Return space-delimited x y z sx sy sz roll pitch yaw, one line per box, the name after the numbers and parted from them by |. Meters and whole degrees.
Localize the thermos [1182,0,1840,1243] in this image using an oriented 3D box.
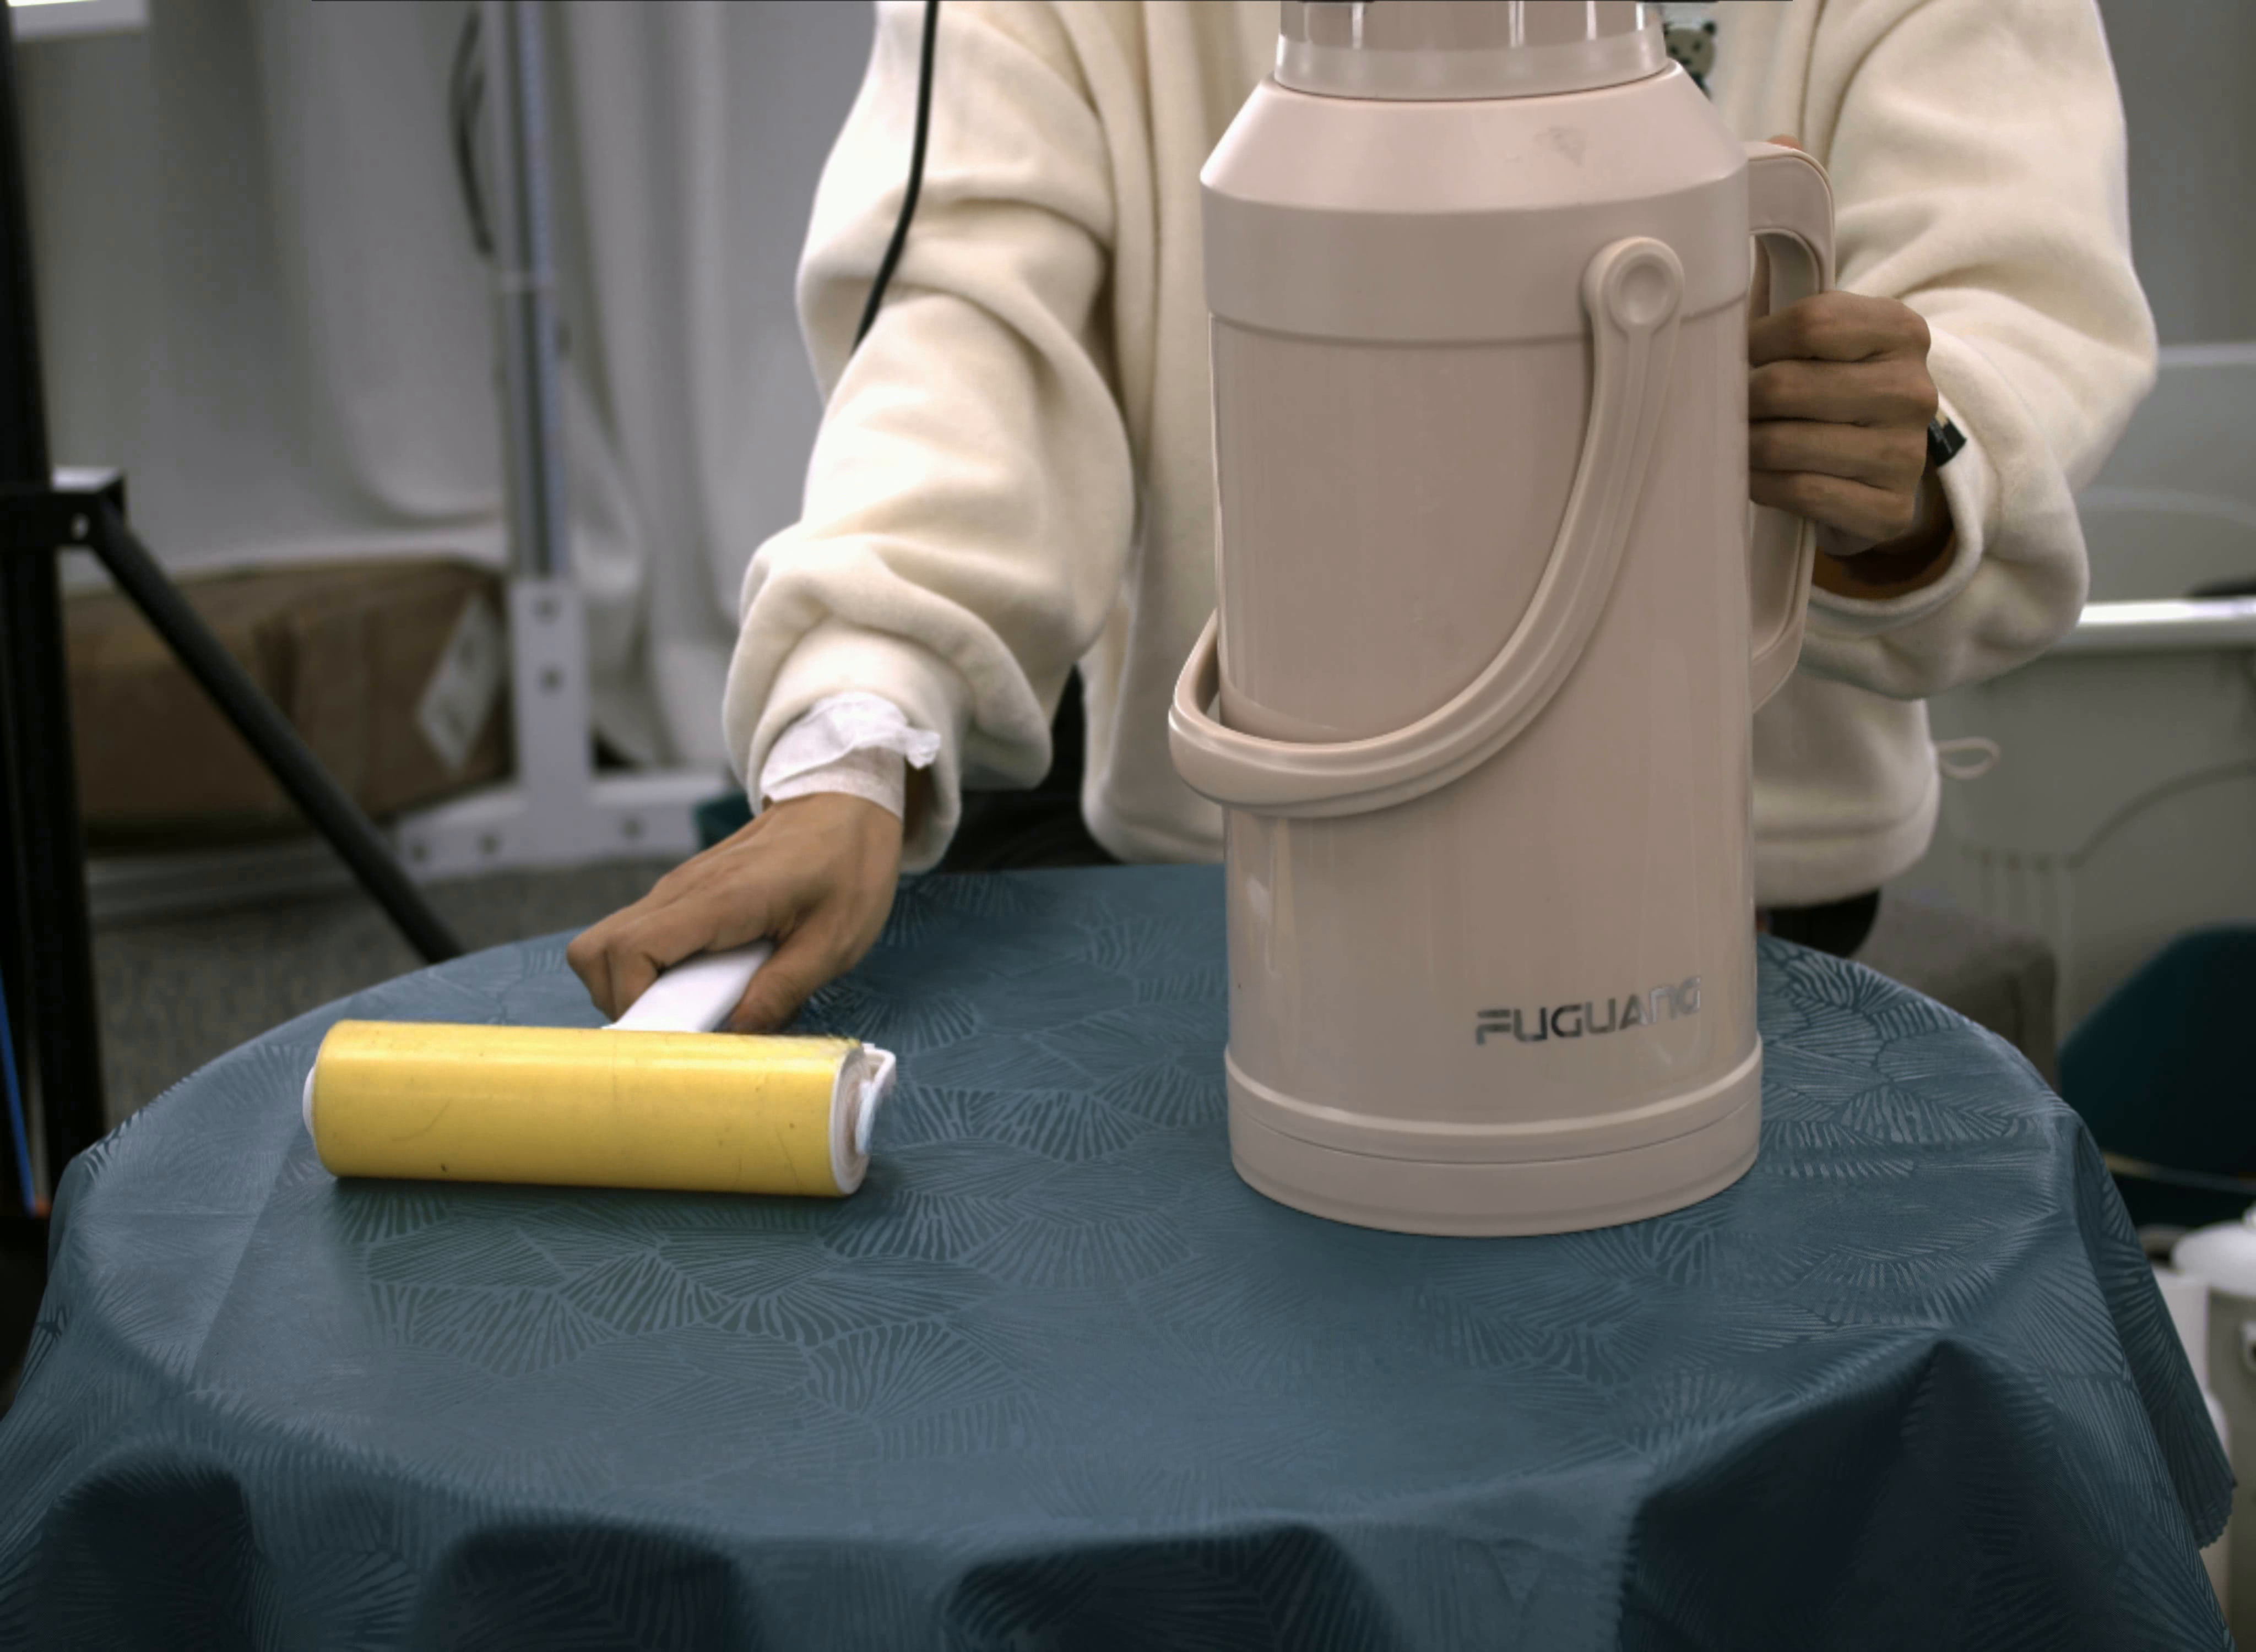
0.115 -0.096 1.533 0.203 0.406 0.179 -9 16 -26 | thermos

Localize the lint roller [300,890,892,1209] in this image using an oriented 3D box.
-0.147 0.054 1.644 0.175 0.051 0.192 1 30 13 | lint roller
